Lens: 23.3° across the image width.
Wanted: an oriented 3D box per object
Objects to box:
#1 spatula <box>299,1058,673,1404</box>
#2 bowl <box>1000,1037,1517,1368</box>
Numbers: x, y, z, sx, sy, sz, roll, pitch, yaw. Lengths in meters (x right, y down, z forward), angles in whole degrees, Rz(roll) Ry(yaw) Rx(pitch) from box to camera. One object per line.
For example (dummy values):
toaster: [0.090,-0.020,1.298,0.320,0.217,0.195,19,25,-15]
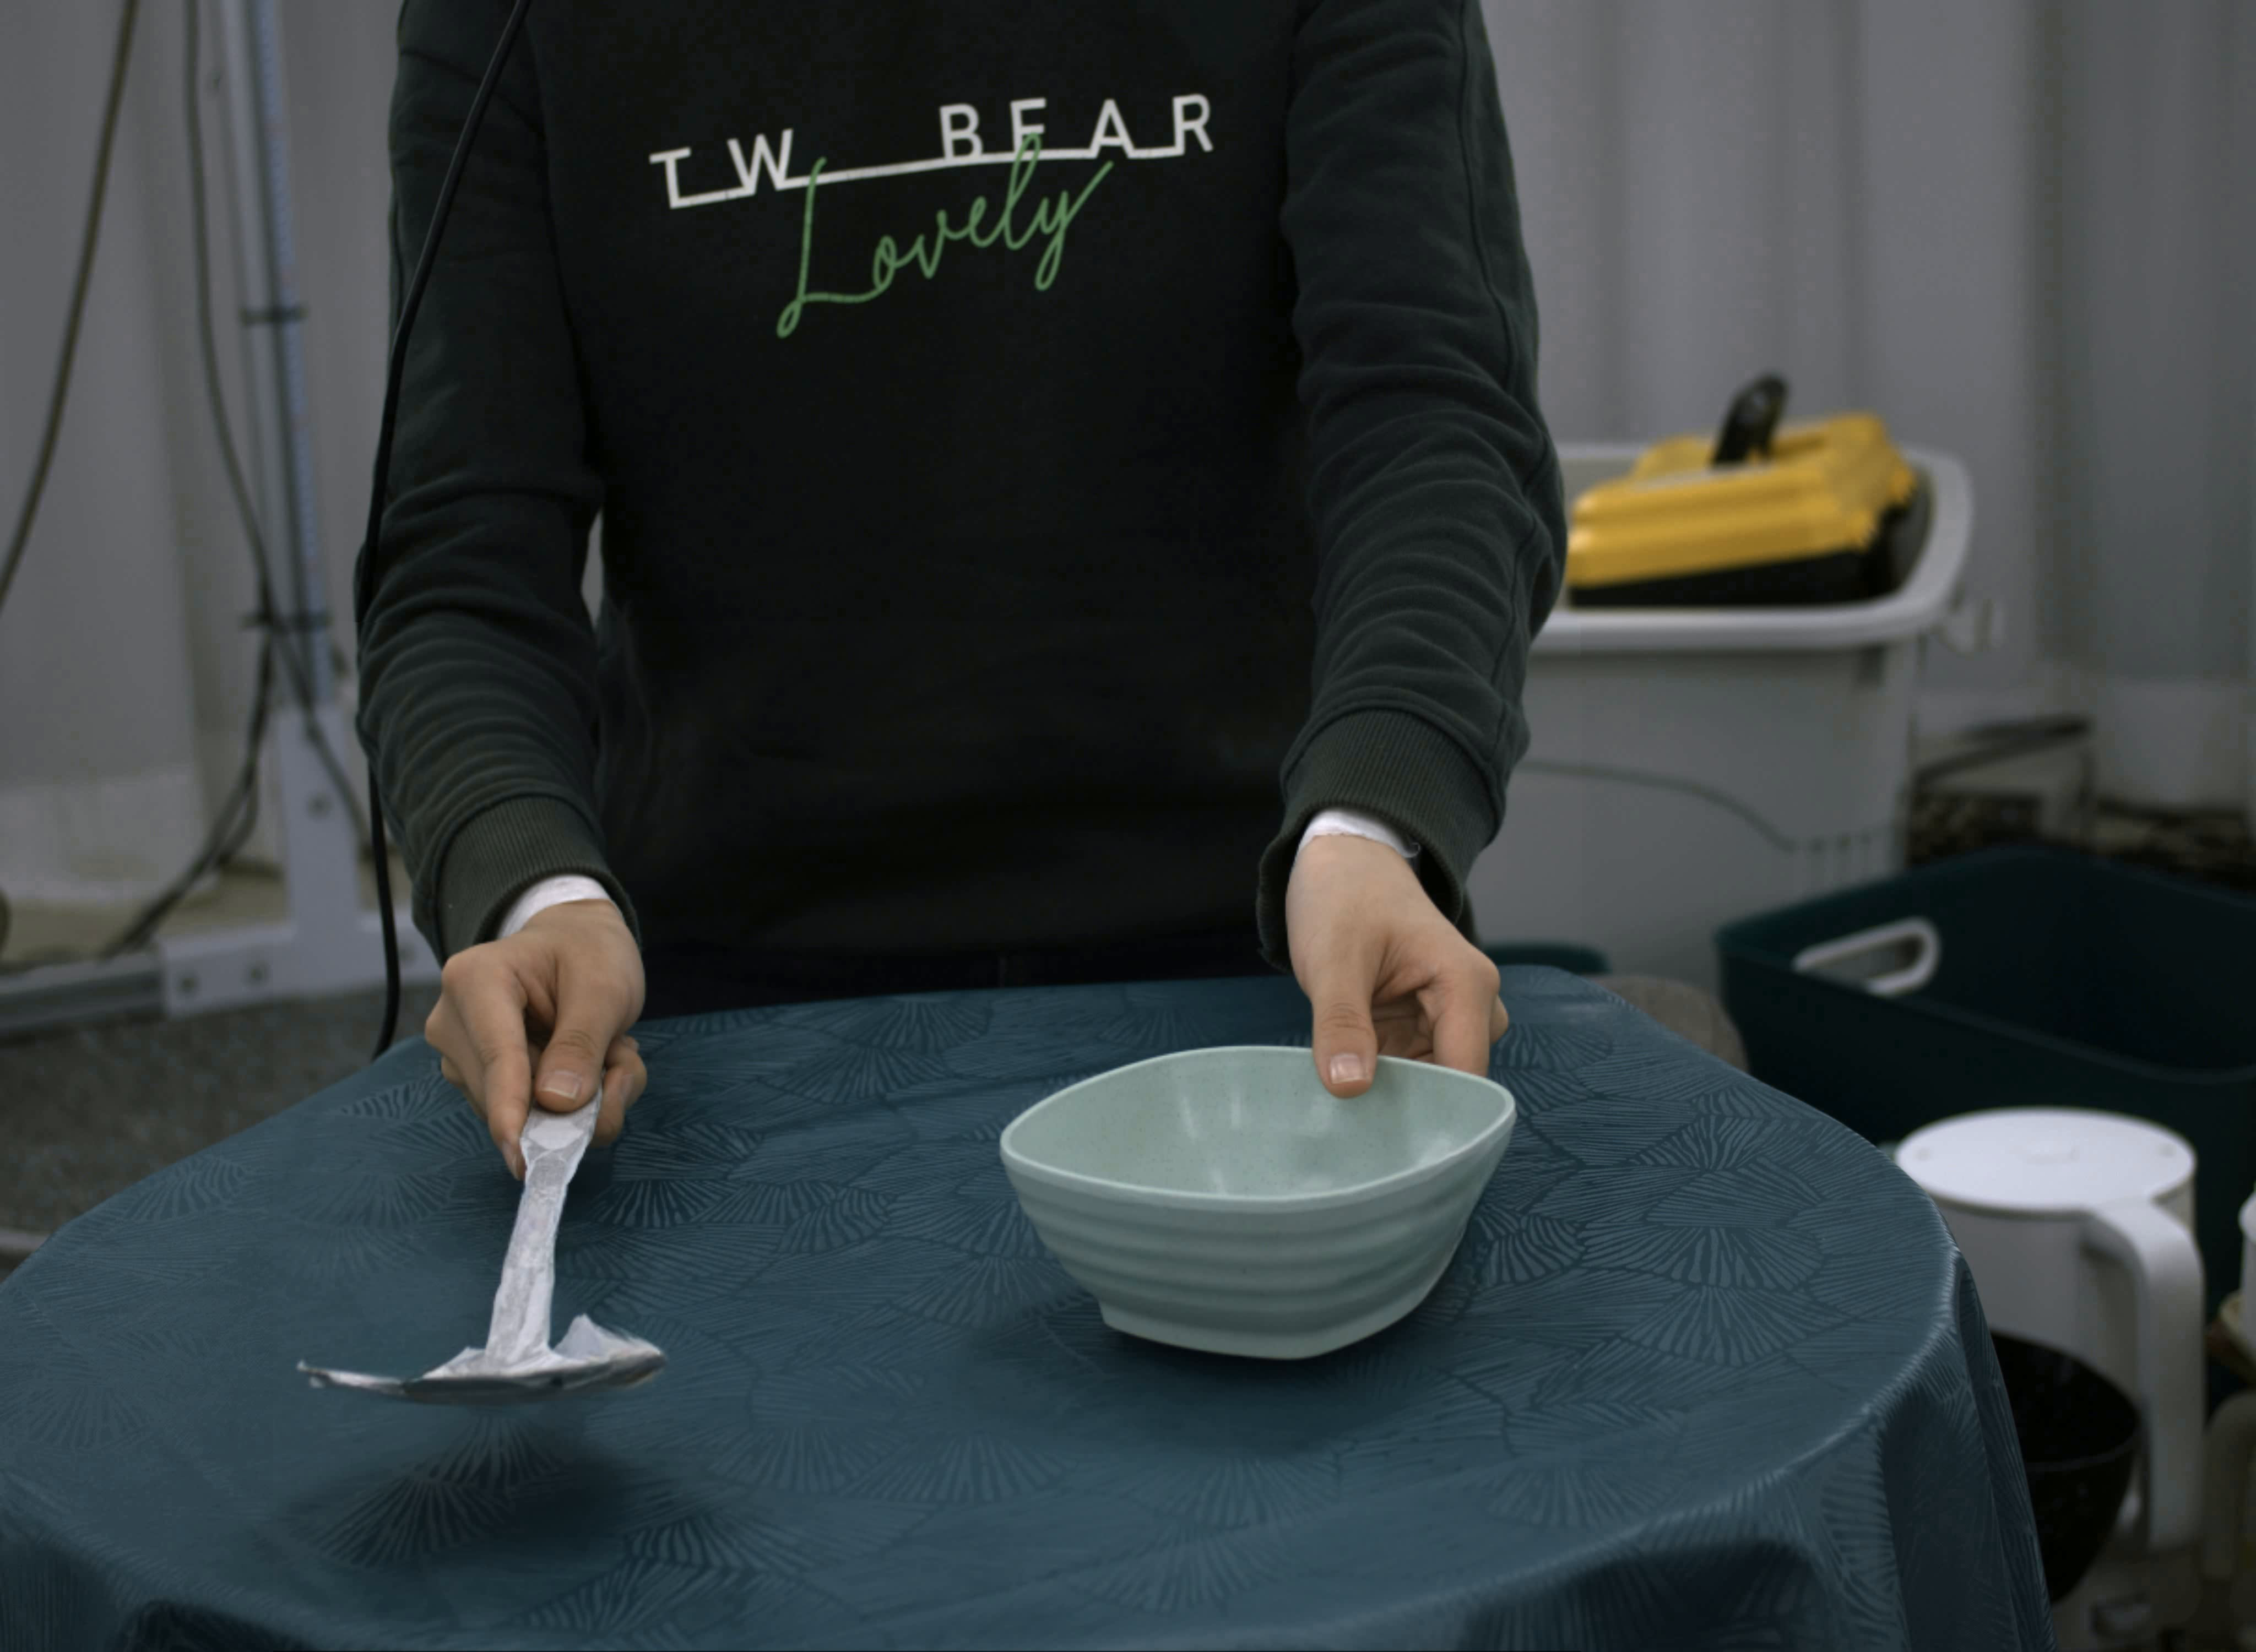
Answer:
spatula: [-0.169,0.110,1.603,0.098,0.044,0.367,-4,16,1]
bowl: [0.038,0.112,1.585,0.151,0.058,0.152,-1,16,0]
